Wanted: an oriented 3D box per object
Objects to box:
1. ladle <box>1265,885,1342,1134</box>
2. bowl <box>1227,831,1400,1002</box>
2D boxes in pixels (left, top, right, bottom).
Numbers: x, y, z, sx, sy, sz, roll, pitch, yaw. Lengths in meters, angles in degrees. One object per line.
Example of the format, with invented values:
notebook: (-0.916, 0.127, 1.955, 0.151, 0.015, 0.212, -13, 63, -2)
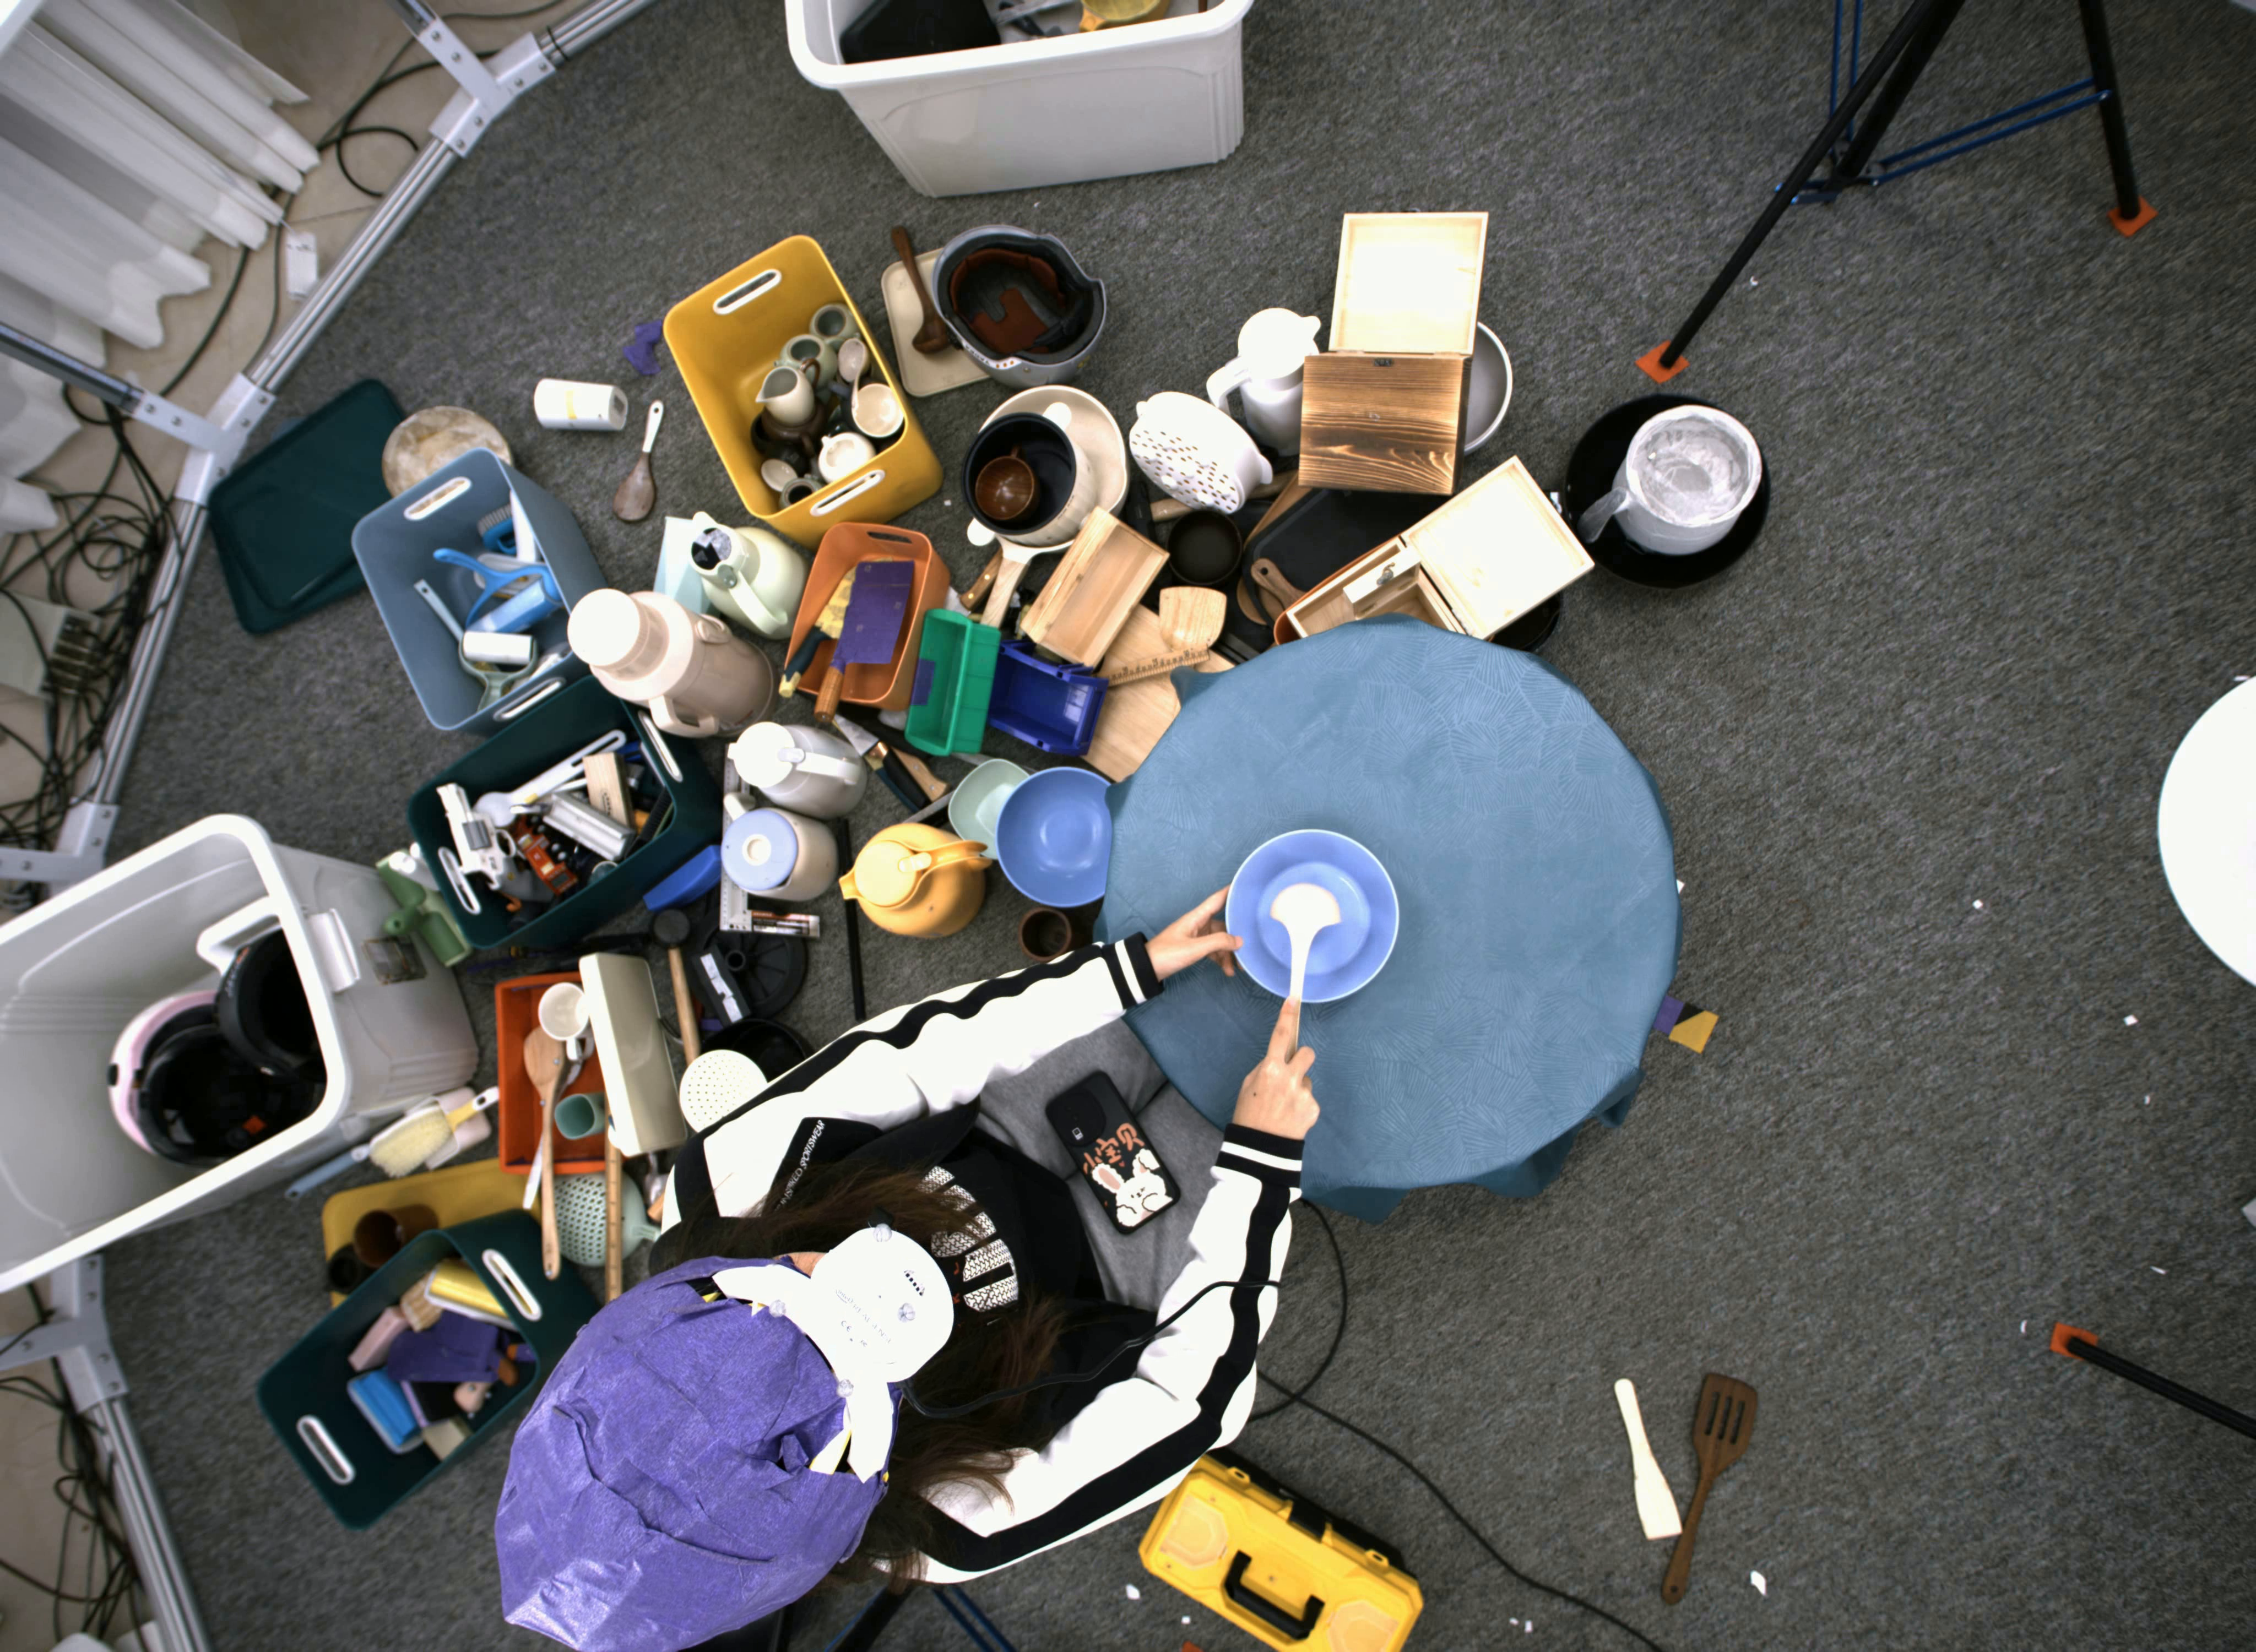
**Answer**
ladle: (0.166, 0.185, 1.396, 0.072, 0.073, 0.251, 7, 77, 12)
bowl: (0.193, 0.095, 1.438, 0.177, 0.070, 0.175, -1, 85, 11)
